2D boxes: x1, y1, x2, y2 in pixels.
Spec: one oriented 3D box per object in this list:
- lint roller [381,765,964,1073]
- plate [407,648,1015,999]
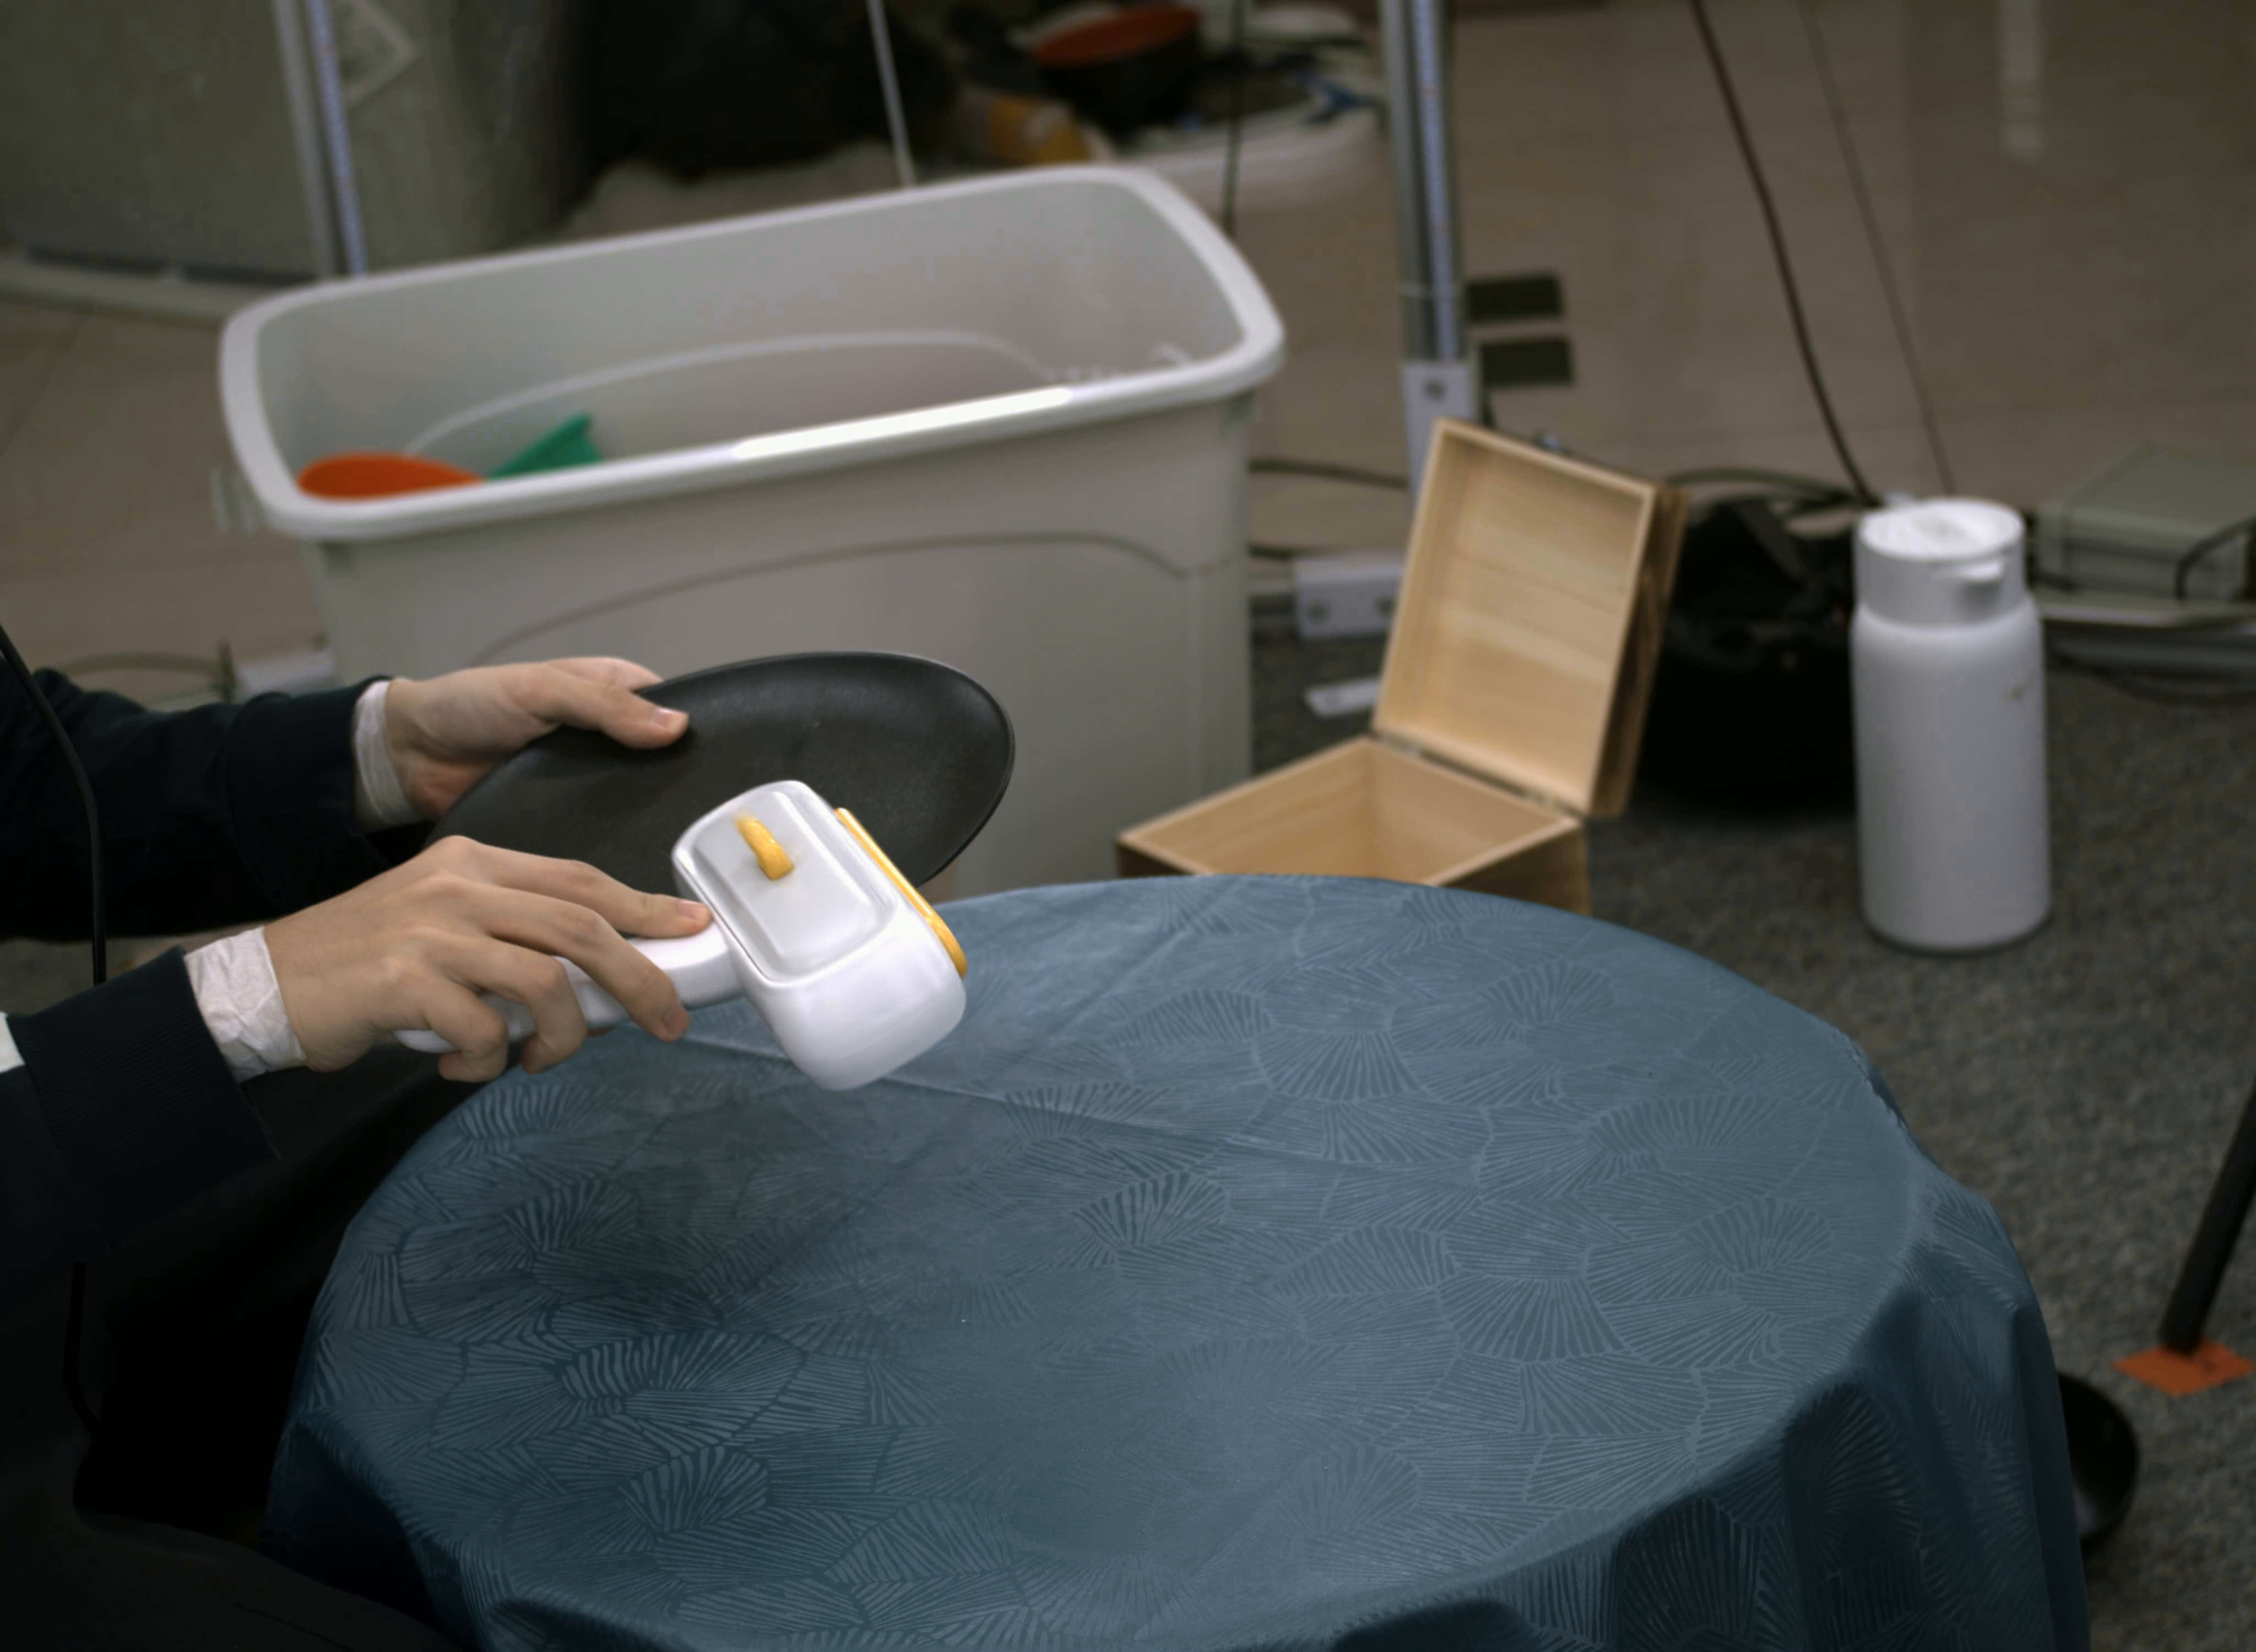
[{"bbox_3d":[-0.169,0.051,1.999,0.191,0.075,0.190,-25,29,-14],"label":"lint roller"},{"bbox_3d":[-0.157,0.004,2.167,0.244,0.024,0.240,-13,30,8],"label":"plate"}]
